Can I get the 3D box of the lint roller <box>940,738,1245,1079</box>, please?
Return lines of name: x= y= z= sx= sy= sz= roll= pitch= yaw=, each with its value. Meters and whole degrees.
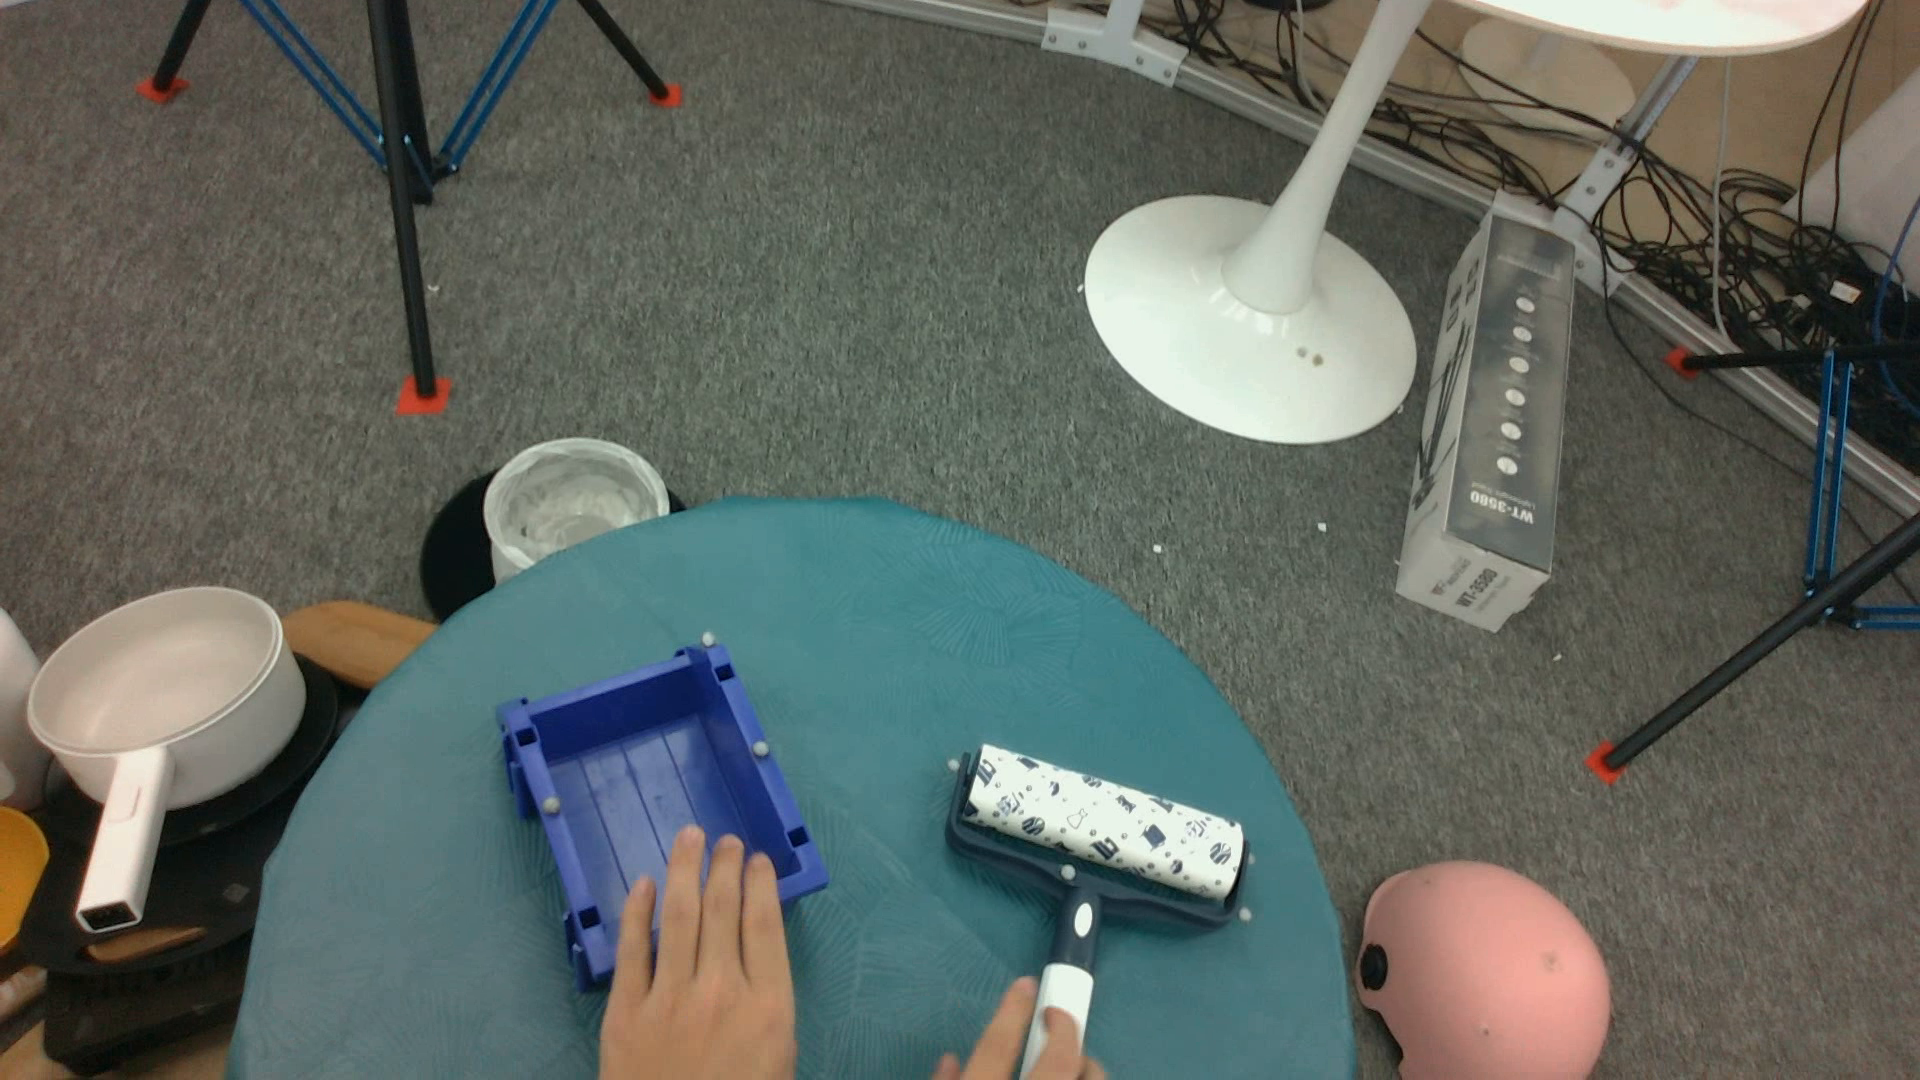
lint roller: x=0.057 y=0.240 z=0.747 sx=0.176 sy=0.050 sz=0.248 roll=17 pitch=53 yaw=-2

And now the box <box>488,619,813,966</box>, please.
box: x=-0.174 y=0.130 z=0.745 sx=0.125 sy=0.081 sz=0.180 roll=-16 pitch=63 yaw=-23
